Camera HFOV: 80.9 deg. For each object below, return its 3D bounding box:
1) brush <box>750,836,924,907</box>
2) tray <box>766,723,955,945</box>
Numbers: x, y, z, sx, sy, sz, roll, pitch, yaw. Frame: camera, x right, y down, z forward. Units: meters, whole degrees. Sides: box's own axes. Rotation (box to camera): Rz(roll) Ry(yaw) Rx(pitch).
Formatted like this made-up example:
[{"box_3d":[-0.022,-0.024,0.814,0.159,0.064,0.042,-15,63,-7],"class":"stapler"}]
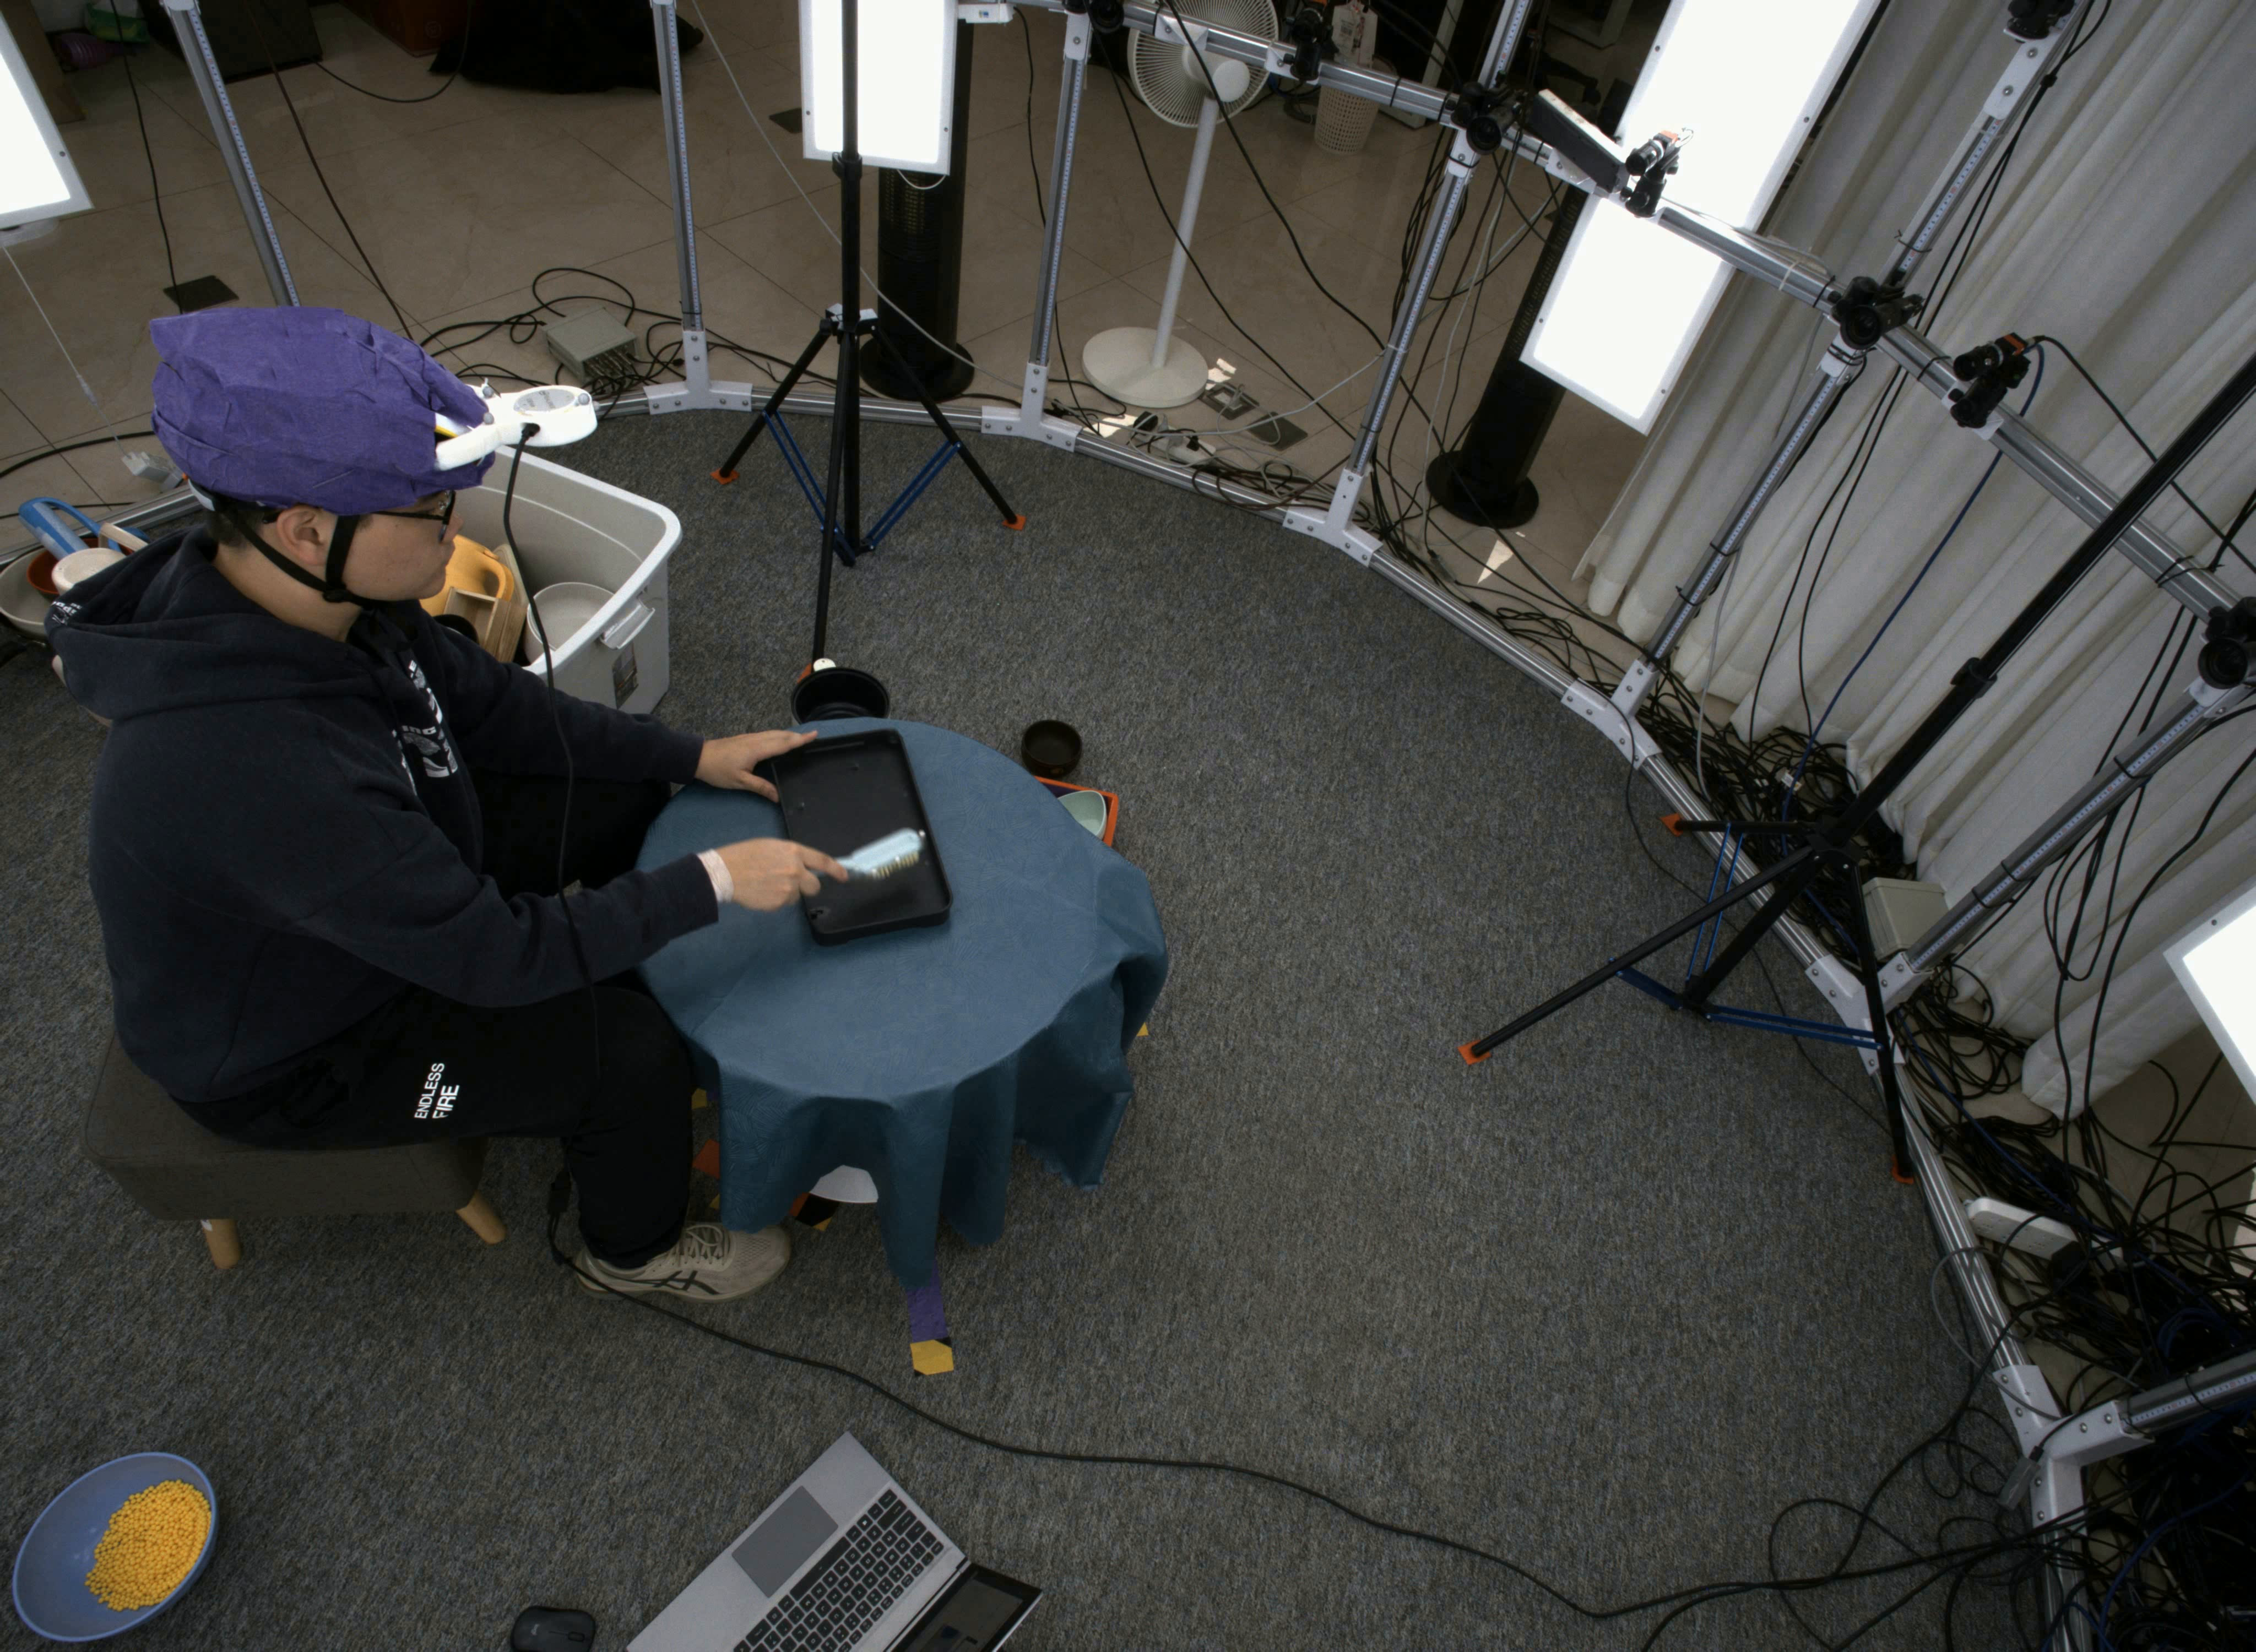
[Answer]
[{"box_3d":[-0.354,0.063,1.594,0.231,0.051,0.036,-18,53,-37],"class":"brush"},{"box_3d":[-0.356,0.003,1.712,0.185,0.038,0.310,-12,58,-21],"class":"tray"}]
